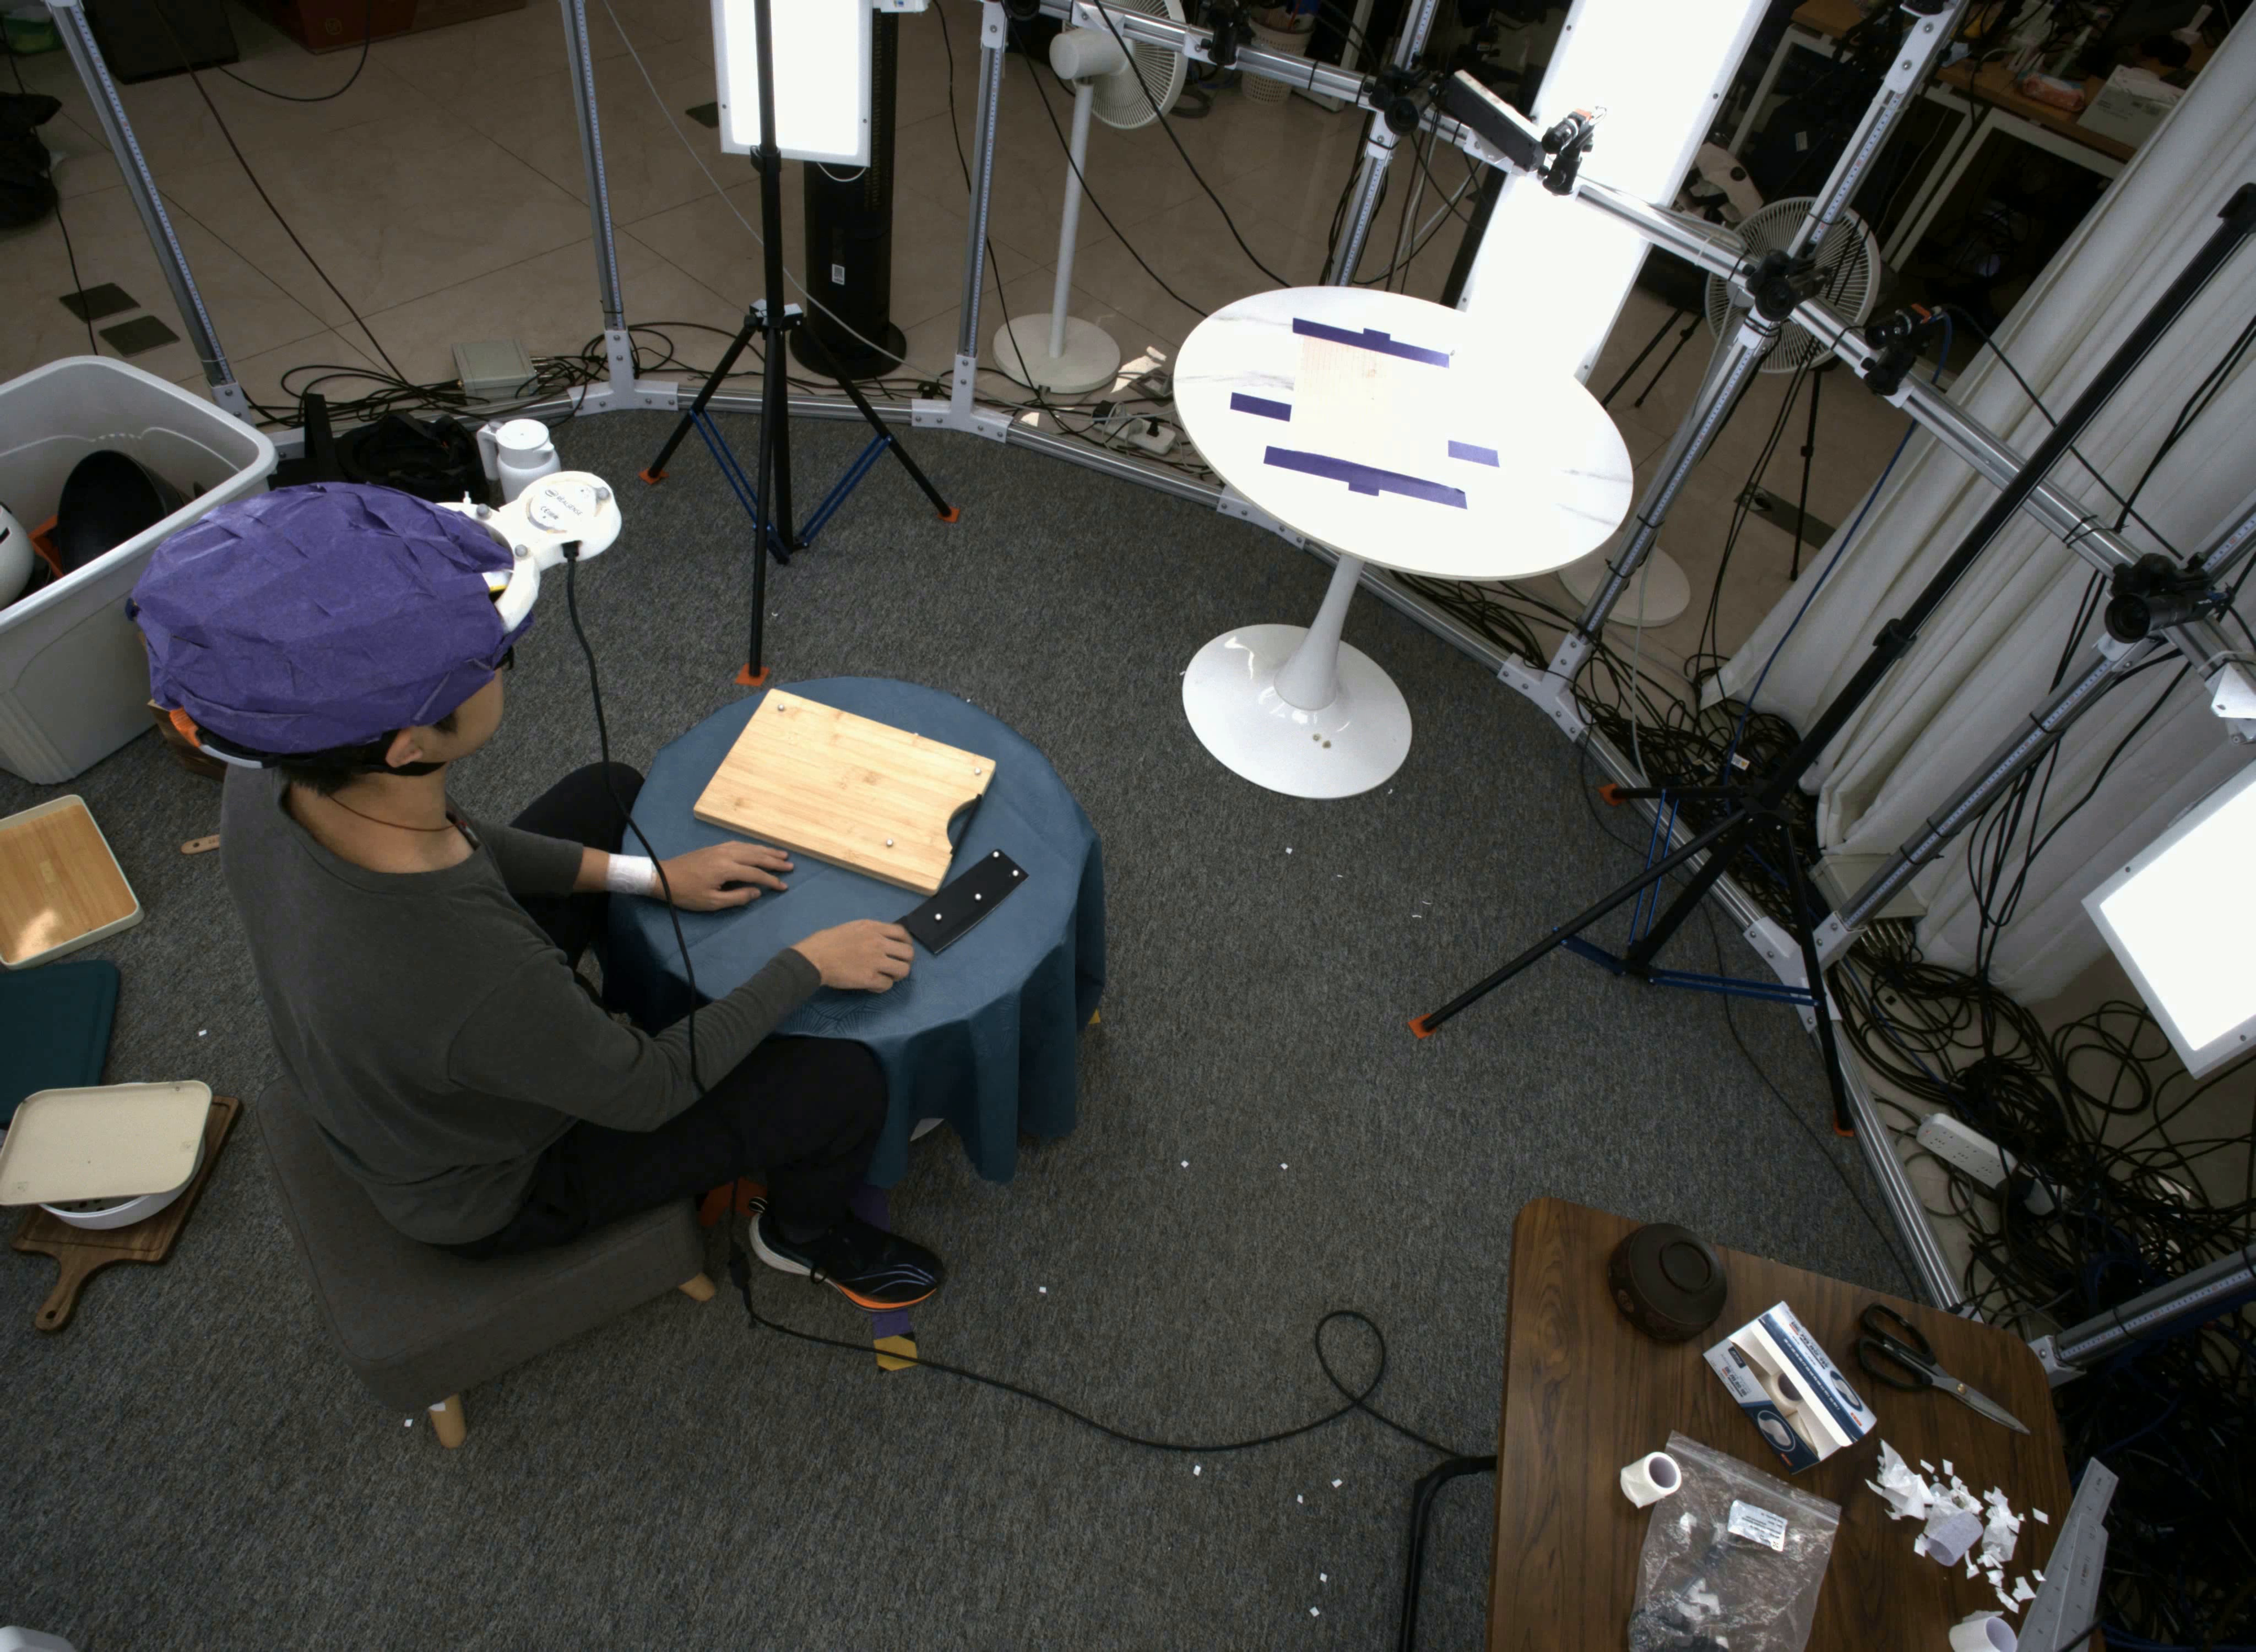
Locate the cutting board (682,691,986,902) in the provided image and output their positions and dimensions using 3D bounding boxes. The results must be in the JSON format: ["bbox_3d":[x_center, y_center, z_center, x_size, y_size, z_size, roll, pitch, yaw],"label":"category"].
[{"bbox_3d":[-0.394,-0.047,1.767,0.346,0.024,0.248,17,52,-1],"label":"cutting board"}]

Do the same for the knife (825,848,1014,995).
[{"bbox_3d":[-0.268,0.122,1.676,0.079,0.021,0.303,43,54,16],"label":"knife"}]
